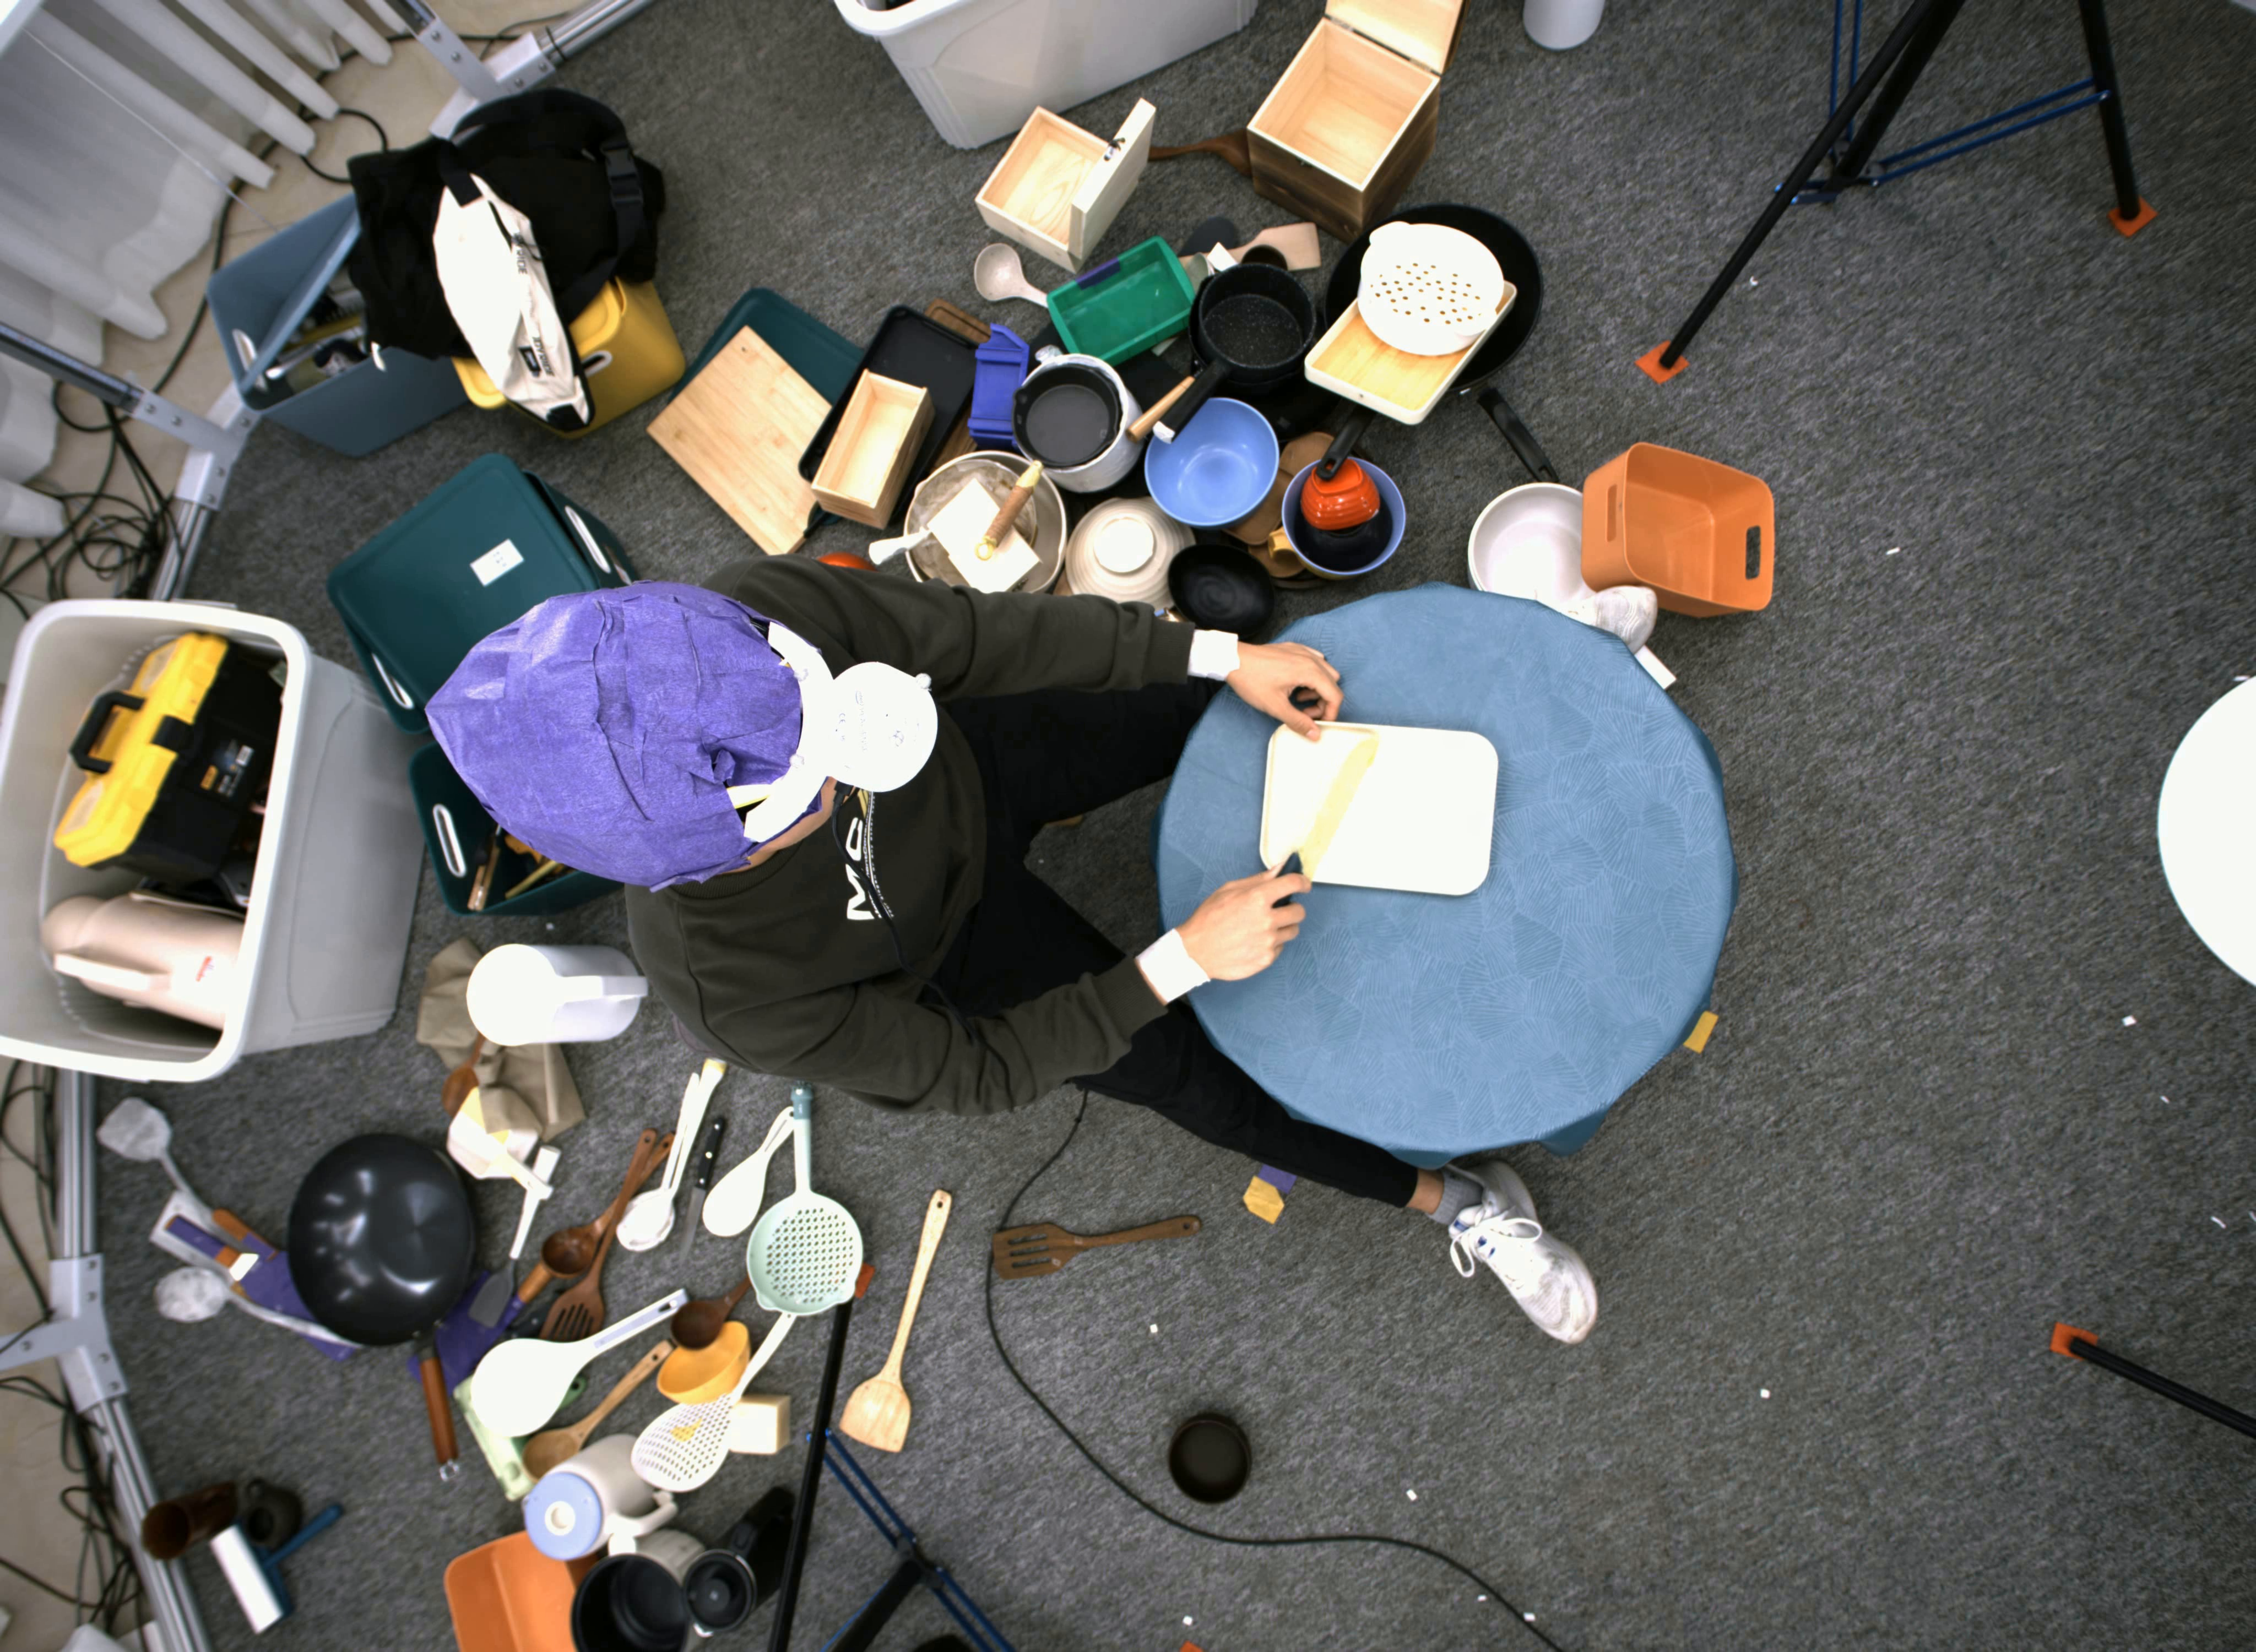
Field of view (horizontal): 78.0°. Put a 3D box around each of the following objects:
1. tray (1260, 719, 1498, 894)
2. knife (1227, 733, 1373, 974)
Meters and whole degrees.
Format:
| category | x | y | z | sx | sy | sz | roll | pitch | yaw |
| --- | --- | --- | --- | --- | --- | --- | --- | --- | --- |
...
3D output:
| category | x | y | z | sx | sy | sz | roll | pitch | yaw |
| --- | --- | --- | --- | --- | --- | --- | --- | --- | --- |
| tray | 0.262 | -0.023 | 1.450 | 0.240 | 0.017 | 0.172 | 5 | 95 | 11 |
| knife | 0.182 | 0.026 | 1.421 | 0.027 | 0.082 | 0.288 | 28 | 85 | 32 |
